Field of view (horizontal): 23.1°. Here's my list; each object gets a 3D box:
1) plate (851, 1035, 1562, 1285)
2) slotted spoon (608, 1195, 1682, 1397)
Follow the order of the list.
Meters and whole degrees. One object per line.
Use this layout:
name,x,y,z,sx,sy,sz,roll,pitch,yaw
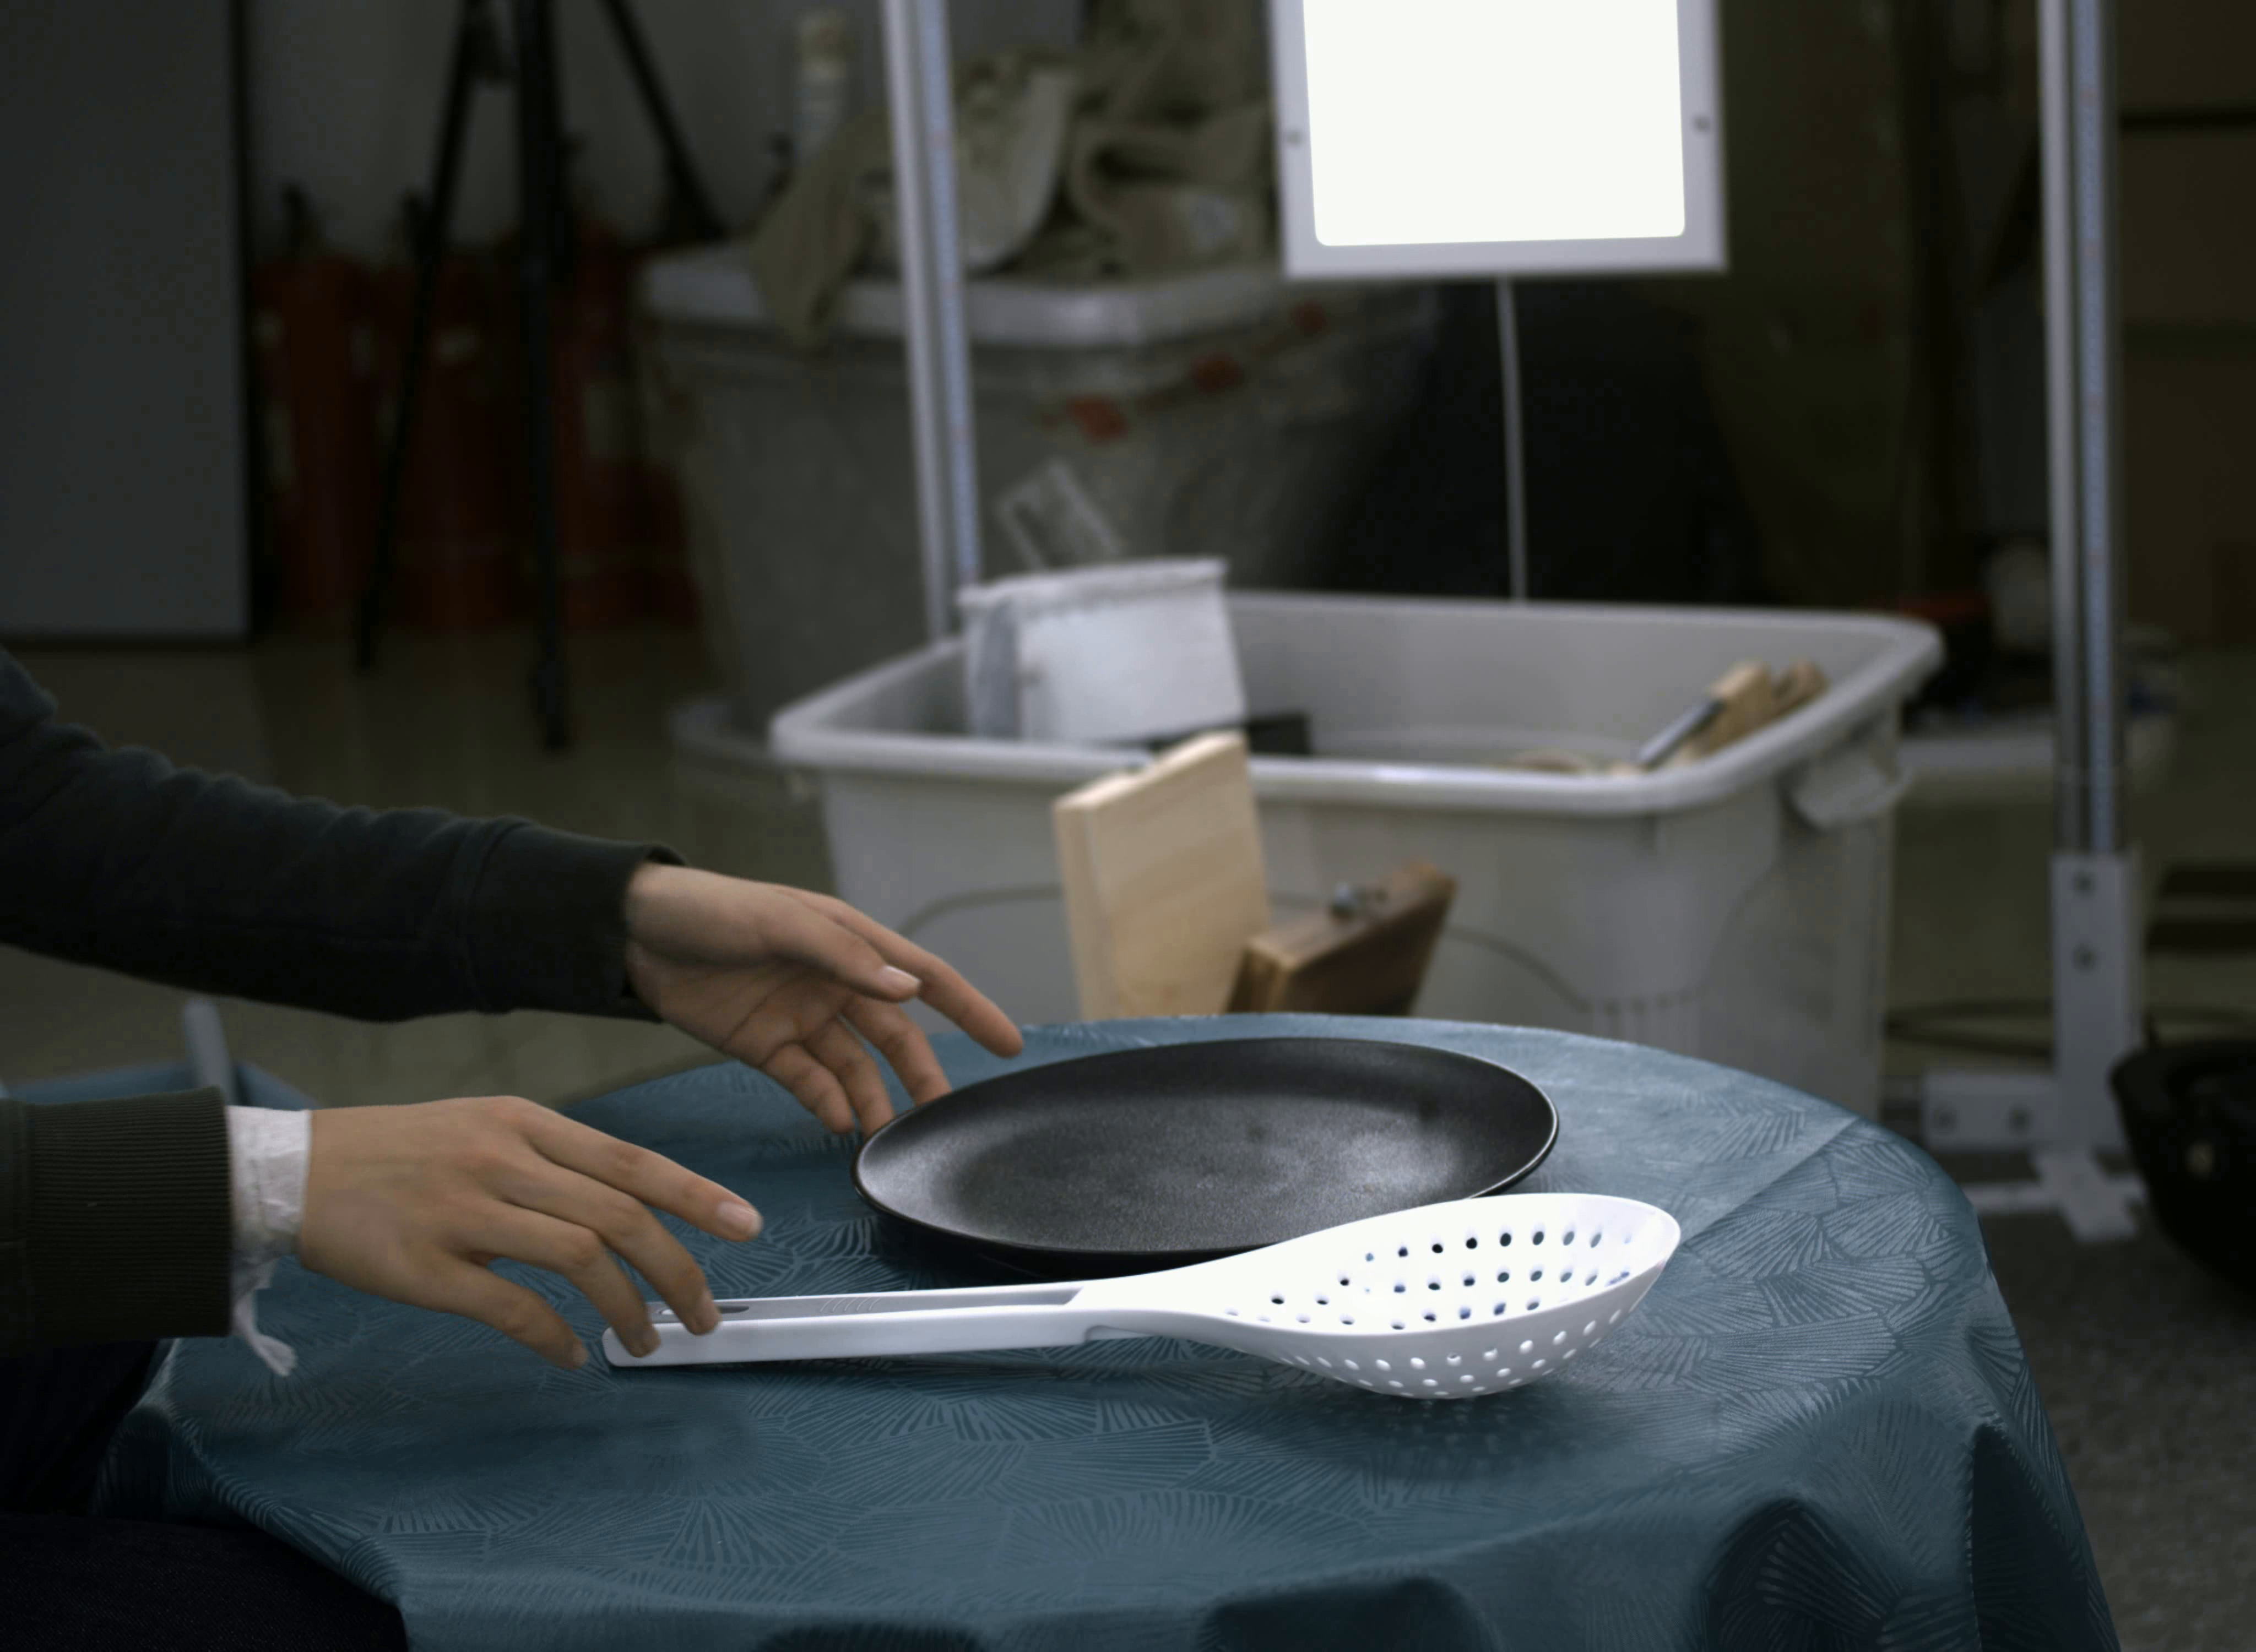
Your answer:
plate,0.028,0.117,1.880,0.244,0.023,0.244,-5,14,0
slotted spoon,0.001,0.149,1.710,0.354,0.046,0.134,-1,12,20
